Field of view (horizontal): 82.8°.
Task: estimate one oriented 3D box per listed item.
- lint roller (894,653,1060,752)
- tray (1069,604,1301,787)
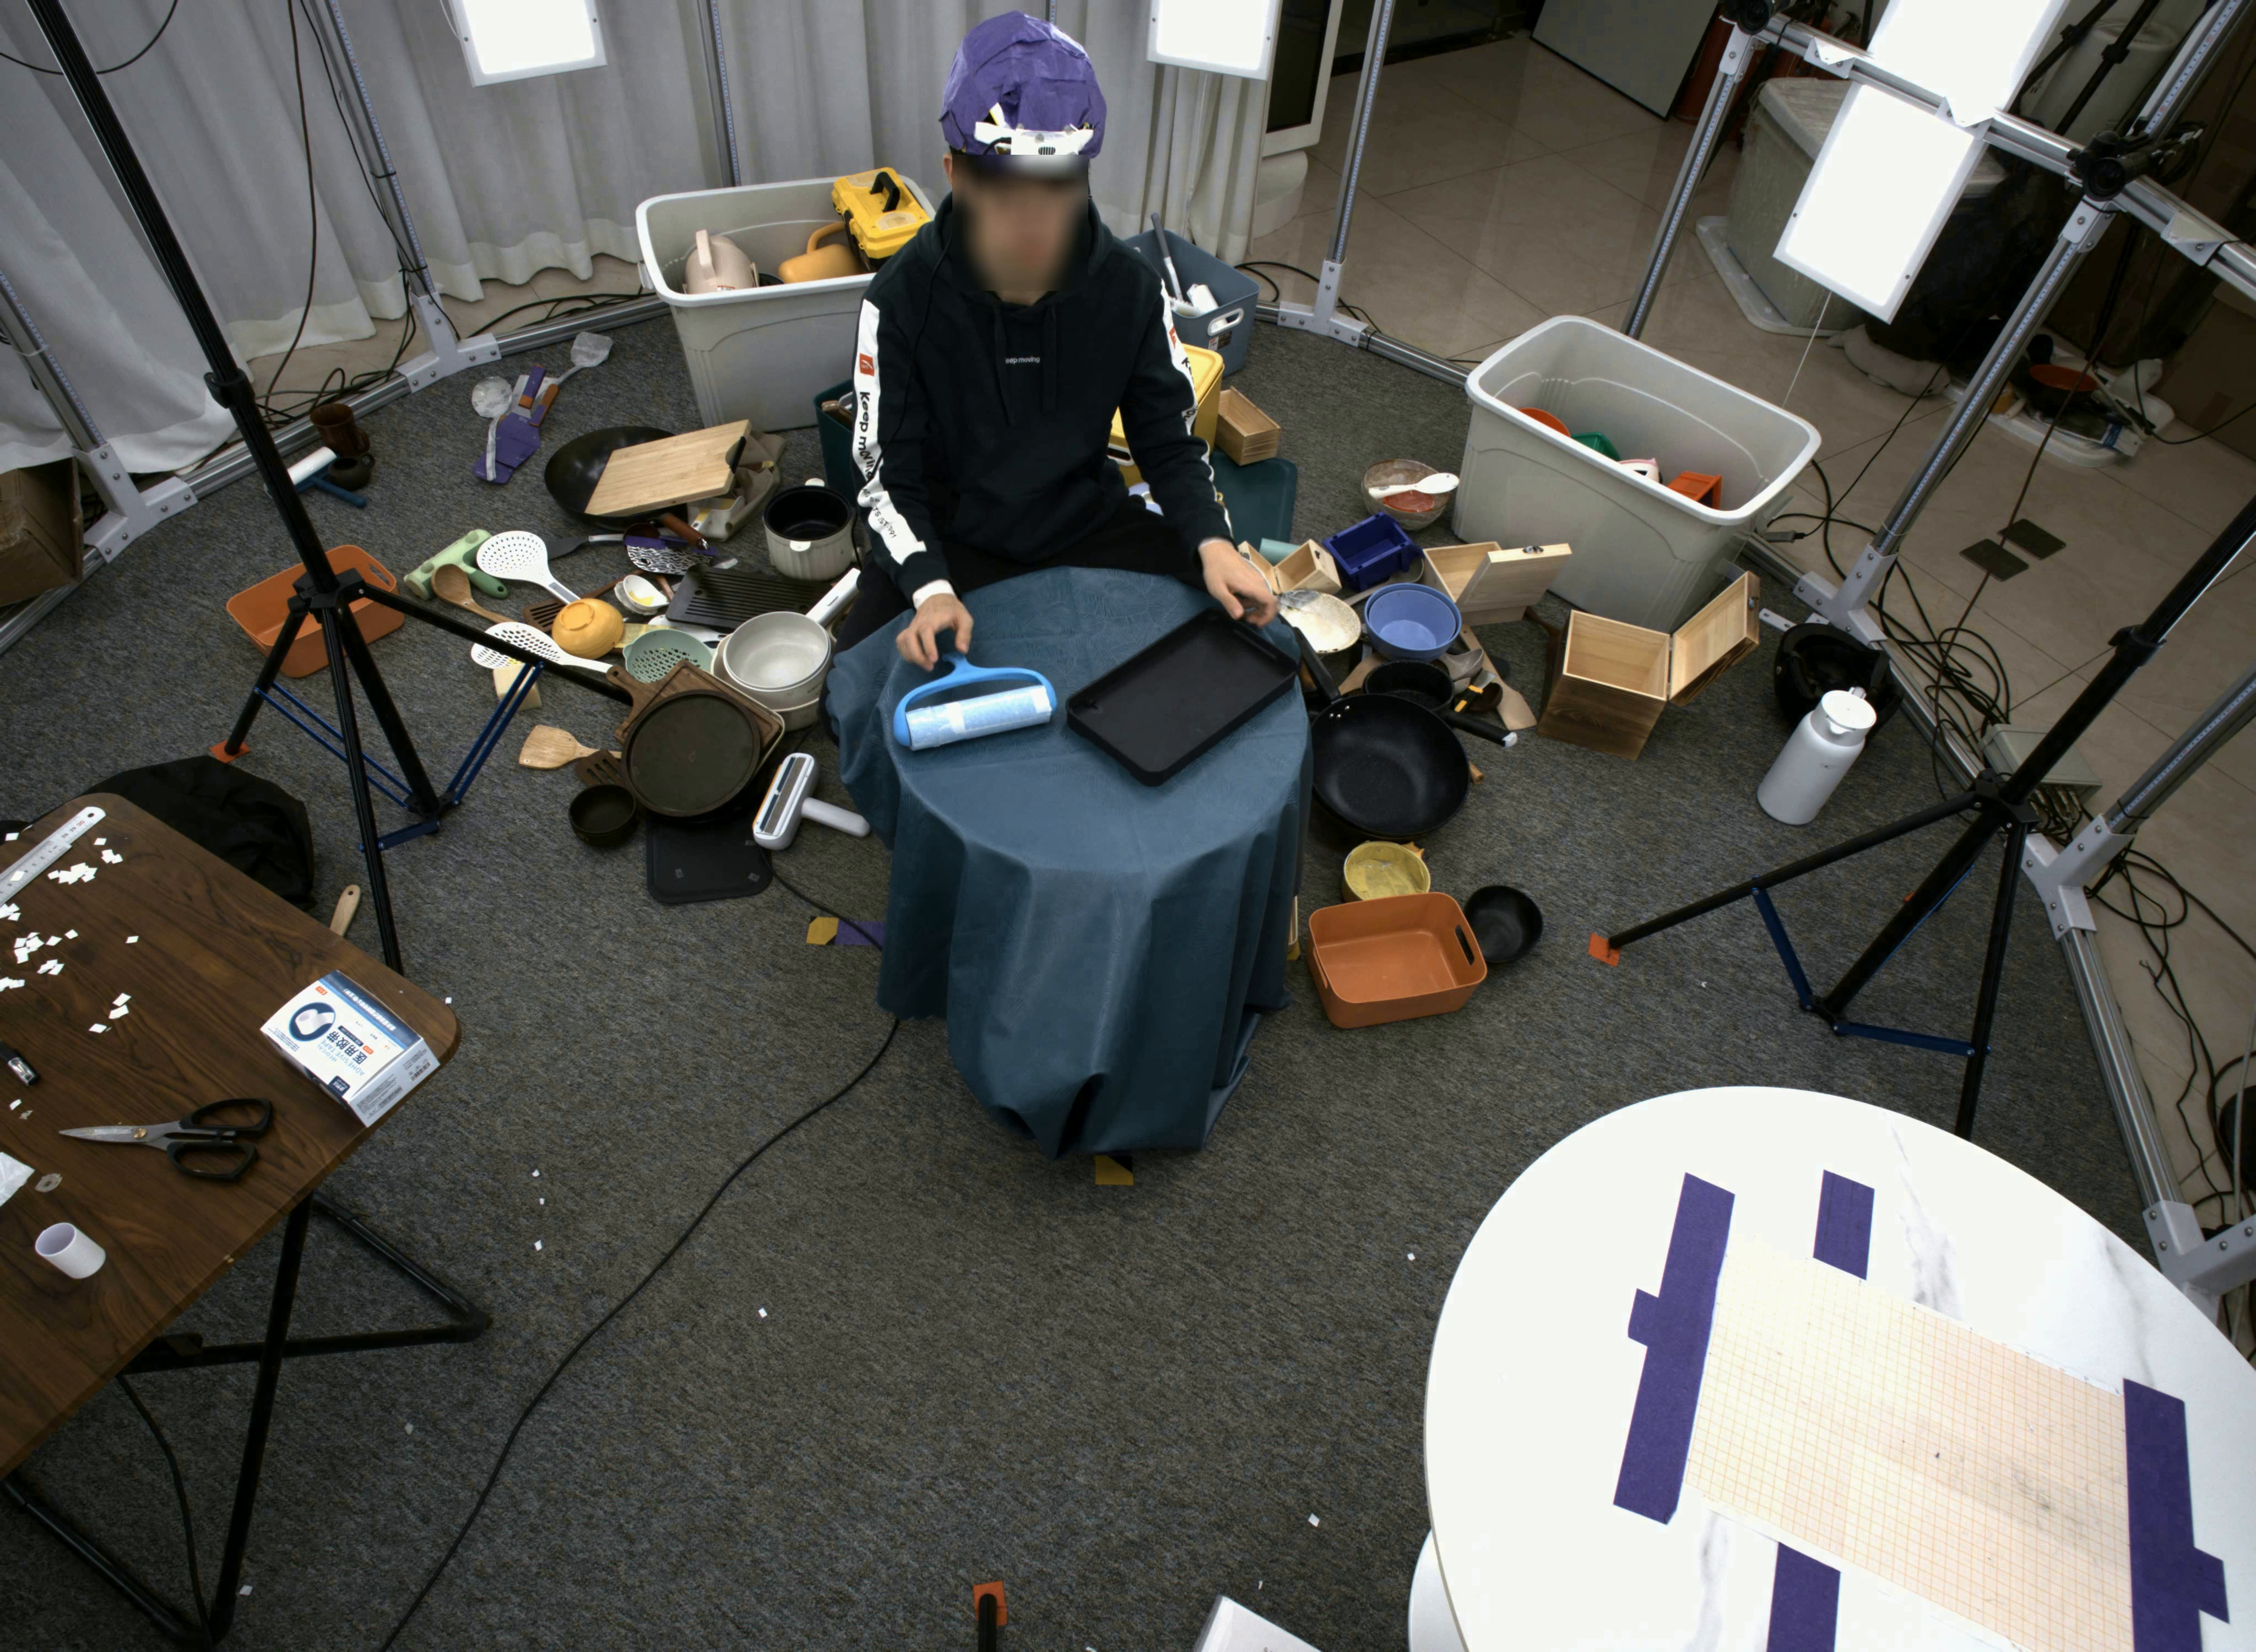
[{"bbox_3d":[-0.225,-0.192,1.783,0.229,0.066,0.184,-16,53,-15],"label":"lint roller"},{"bbox_3d":[0.083,-0.191,1.817,0.187,0.036,0.321,36,57,25],"label":"tray"}]
